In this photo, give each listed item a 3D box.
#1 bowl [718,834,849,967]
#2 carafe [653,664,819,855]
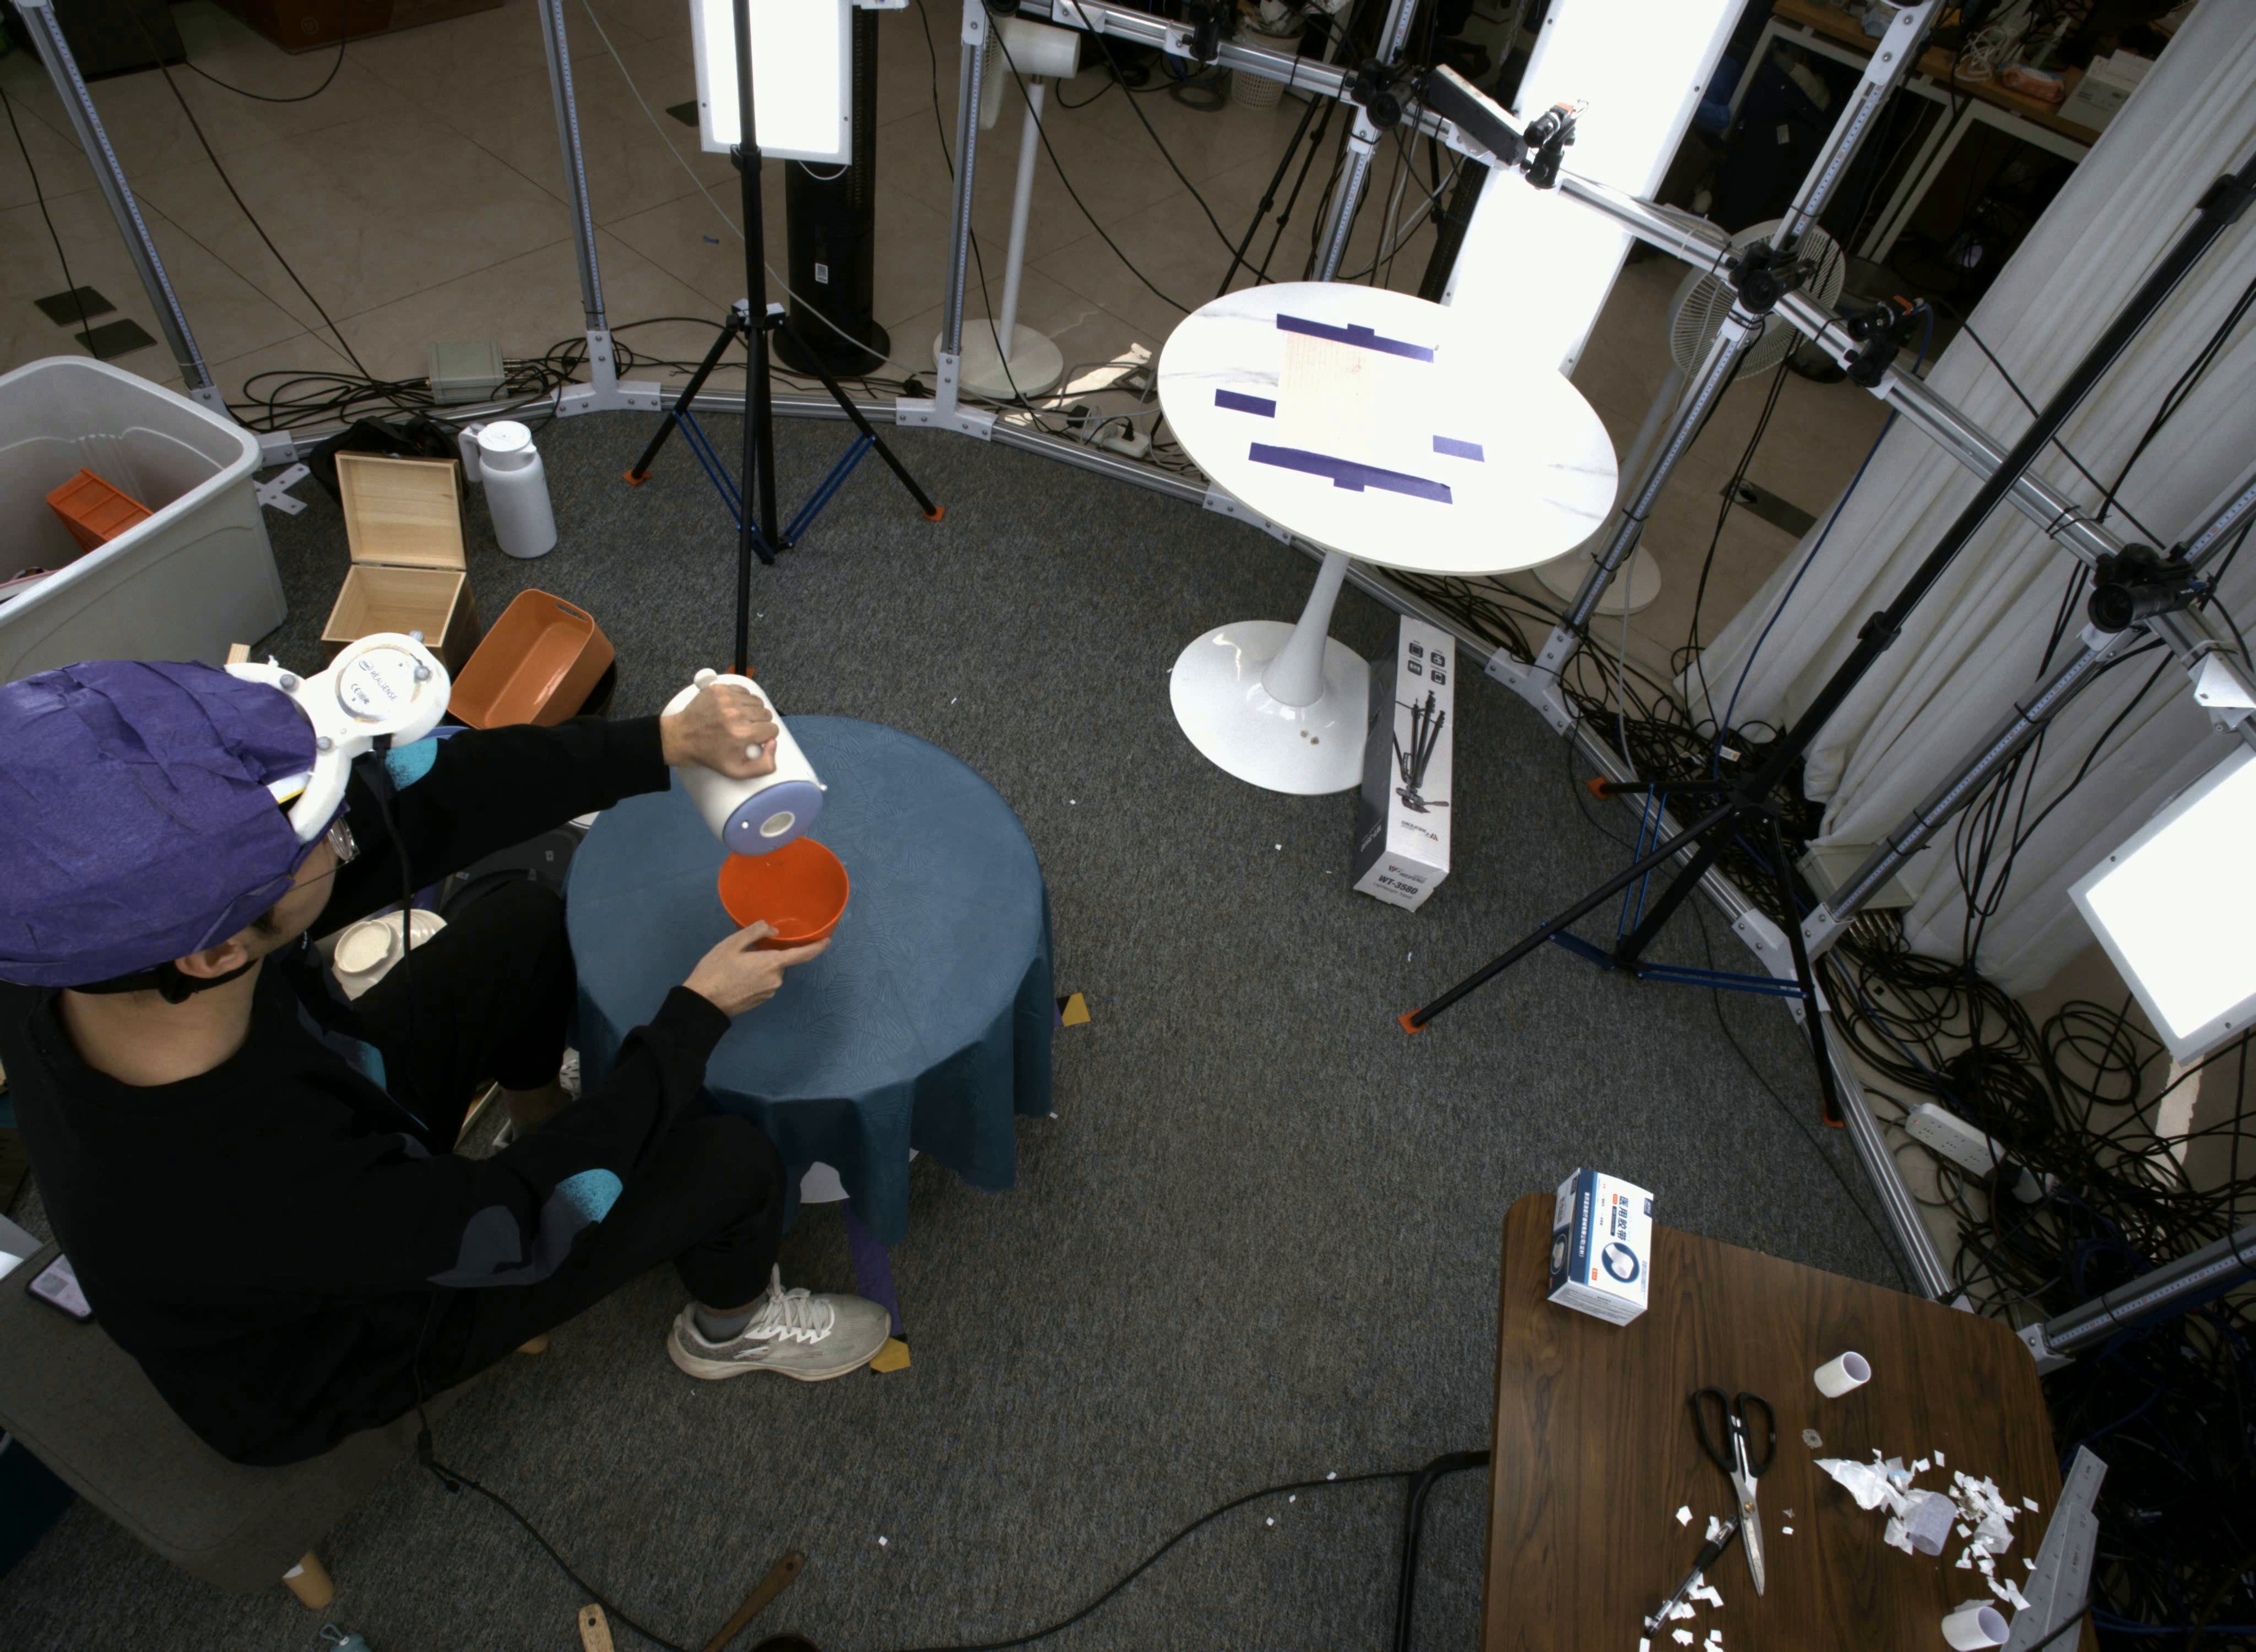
[{"bbox_3d":[-0.401,0.095,1.517,0.147,0.107,0.145,8,43,-6],"label":"bowl"},{"bbox_3d":[-0.436,-0.086,1.421,0.132,0.195,0.178,-30,65,-22],"label":"carafe"}]
